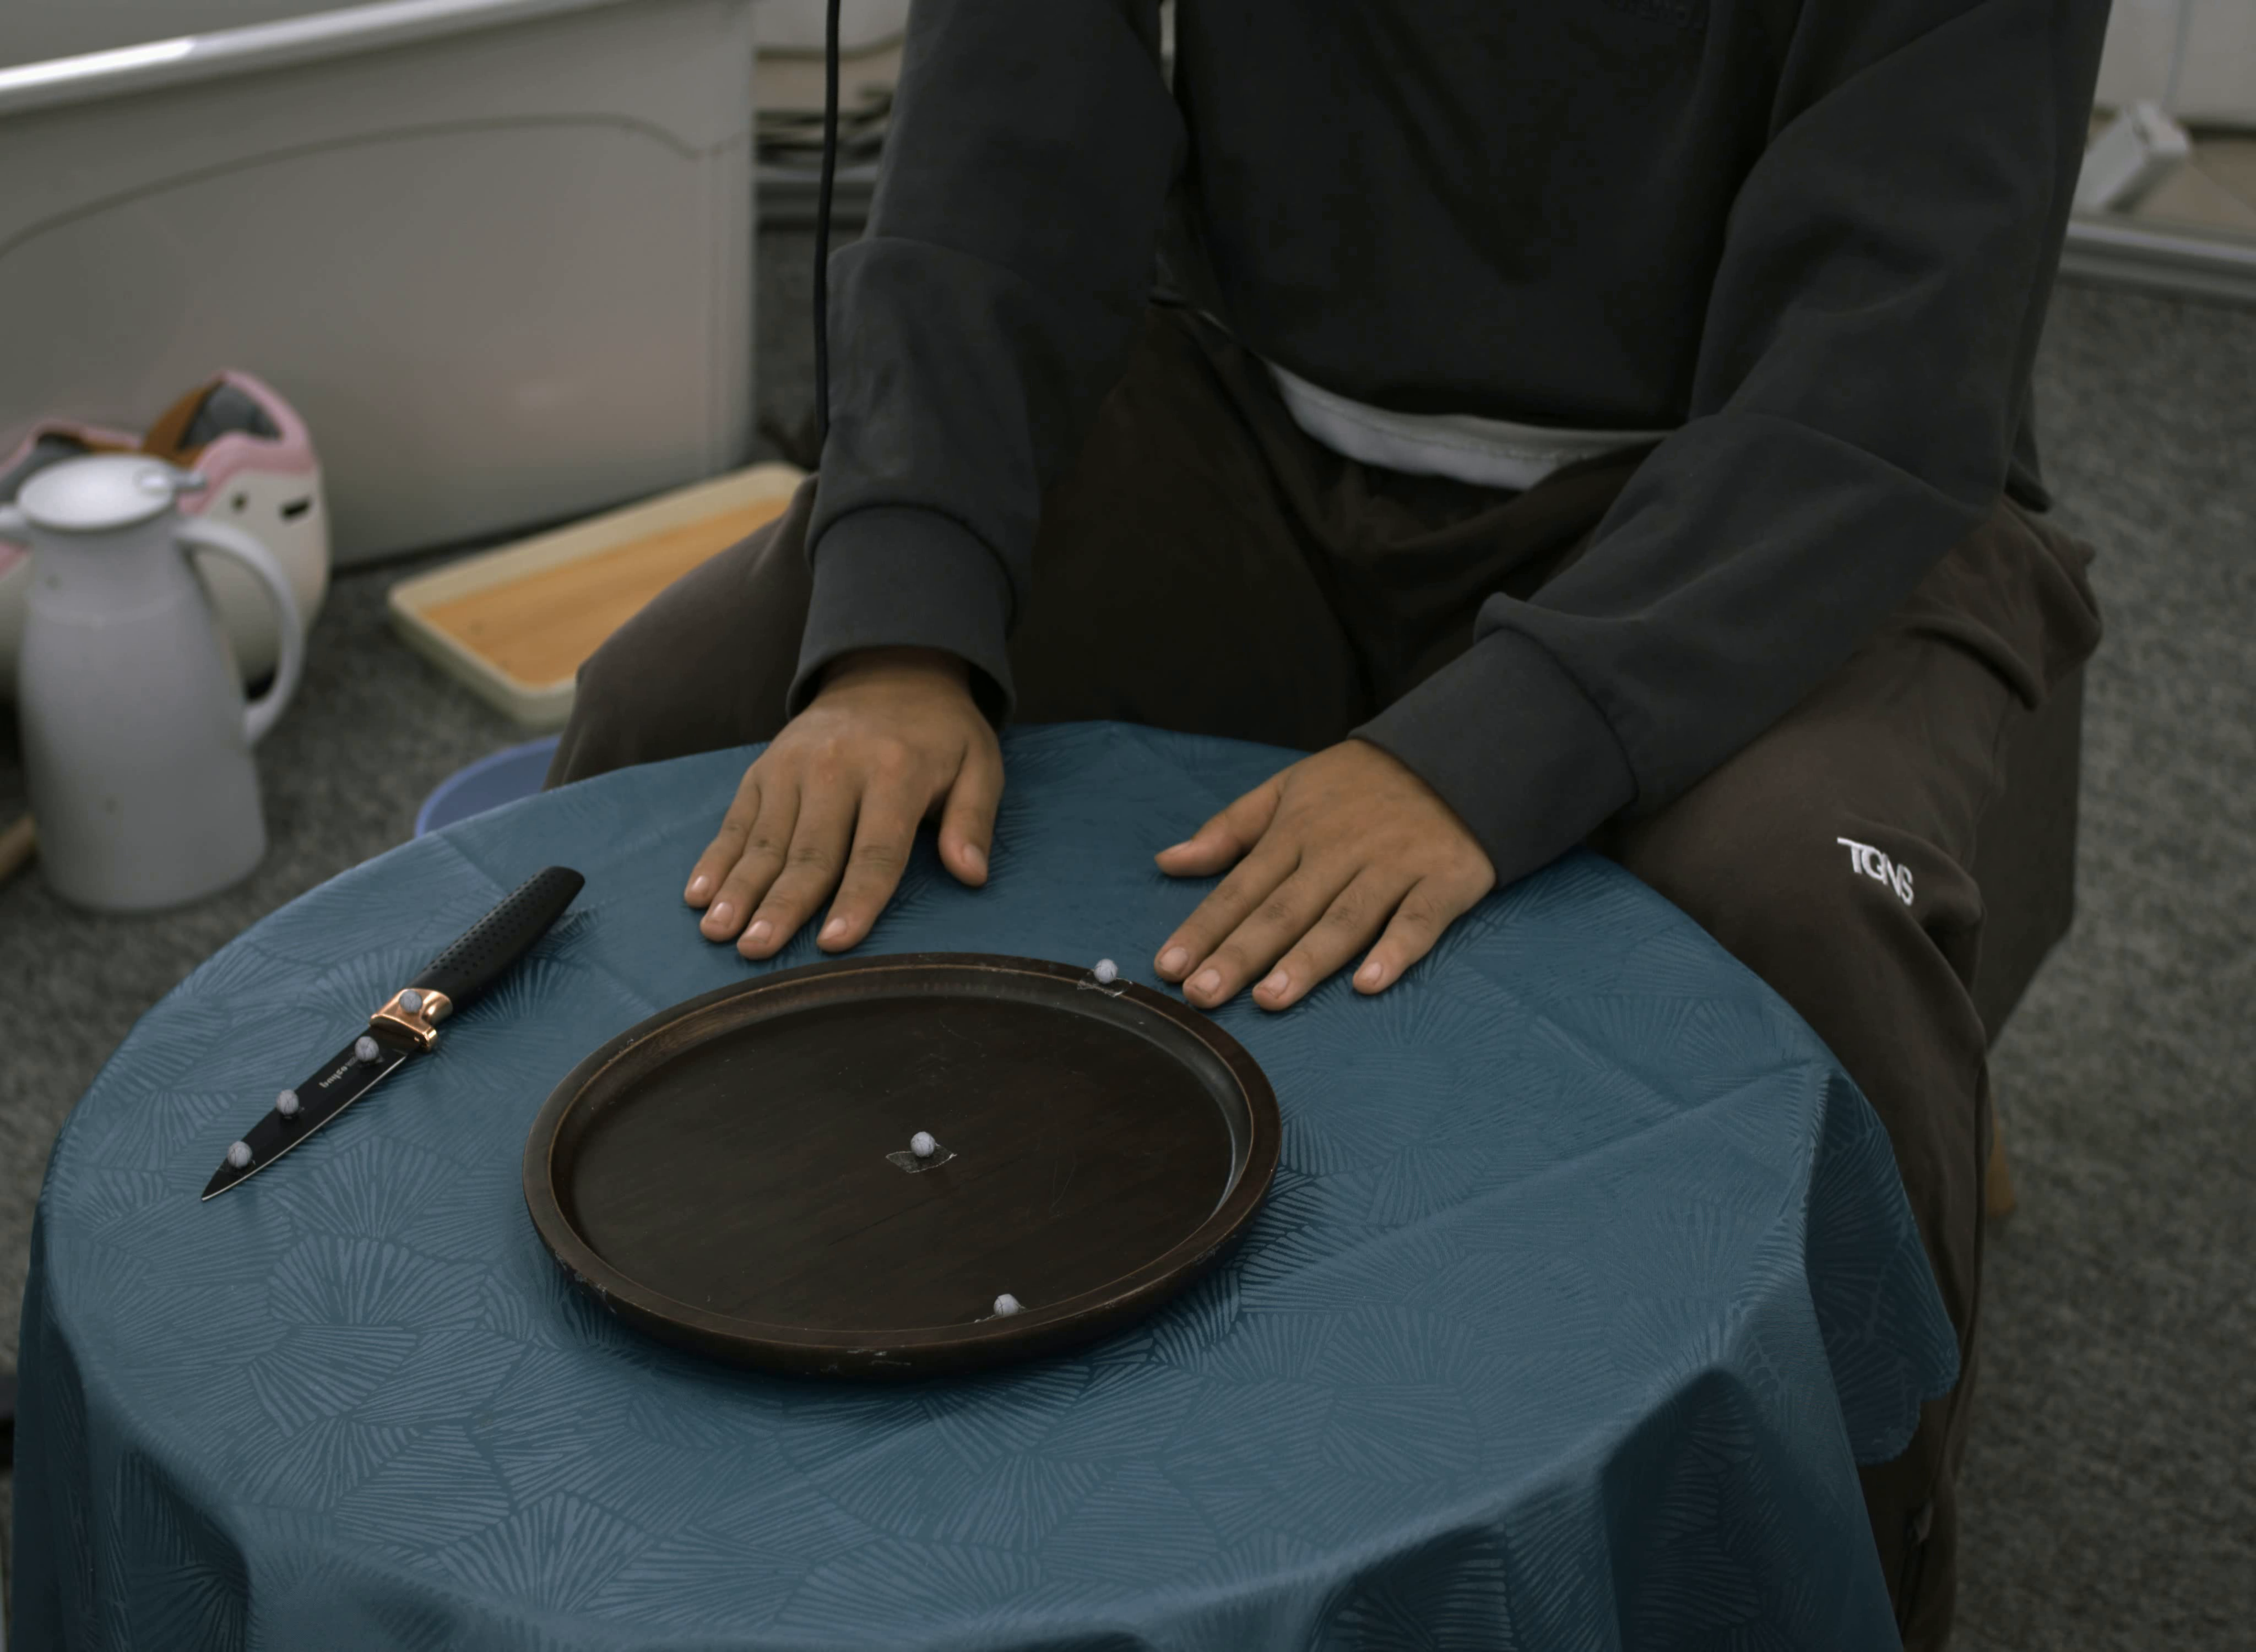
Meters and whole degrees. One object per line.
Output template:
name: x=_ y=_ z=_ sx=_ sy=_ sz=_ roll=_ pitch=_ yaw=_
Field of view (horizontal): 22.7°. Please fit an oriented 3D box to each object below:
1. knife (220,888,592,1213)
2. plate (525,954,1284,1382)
knife: x=-0.253 y=0.077 z=1.962 sx=0.026 sy=0.017 sz=0.229 roll=17 pitch=34 yaw=23
plate: x=-0.074 y=0.112 z=1.865 sx=0.253 sy=0.029 sz=0.258 roll=-2 pitch=26 yaw=1
